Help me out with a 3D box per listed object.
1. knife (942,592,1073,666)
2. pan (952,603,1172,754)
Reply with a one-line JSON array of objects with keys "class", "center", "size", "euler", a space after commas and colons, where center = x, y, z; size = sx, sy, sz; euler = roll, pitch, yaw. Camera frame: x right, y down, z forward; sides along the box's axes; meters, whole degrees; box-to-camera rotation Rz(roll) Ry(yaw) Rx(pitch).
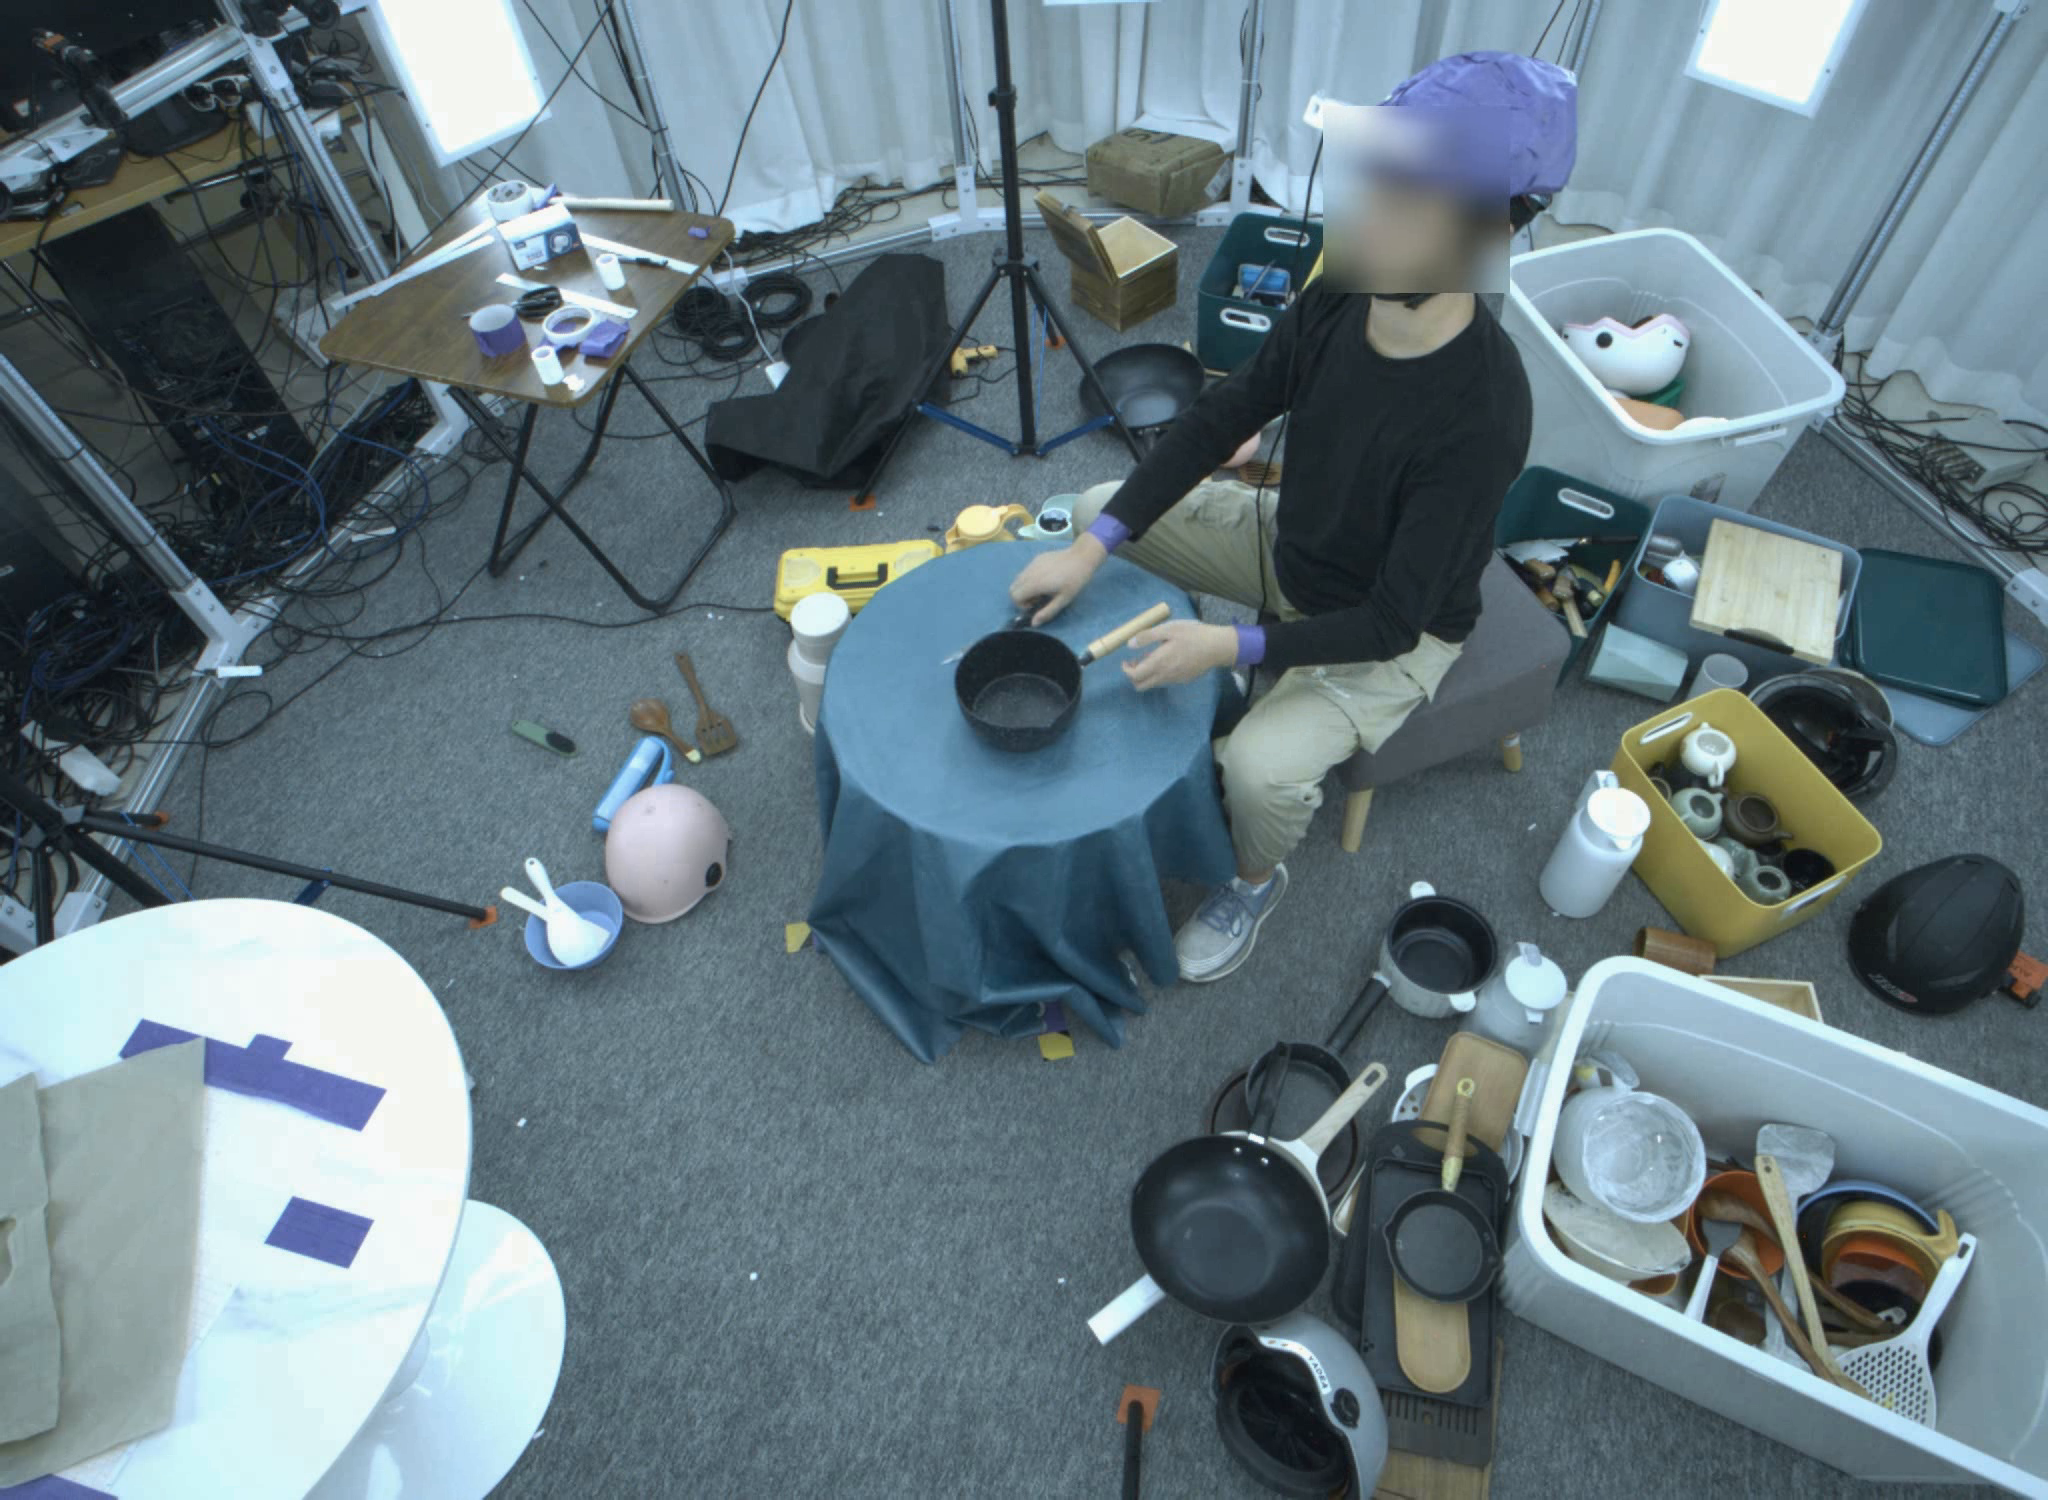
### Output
[{"class": "knife", "center": [-0.028, -0.188, 1.912], "size": [0.240, 0.016, 0.024], "euler": [-30, 56, -15]}, {"class": "pan", "center": [0.062, -0.118, 1.800], "size": [0.345, 0.109, 0.203], "euler": [-25, 57, -14]}]
